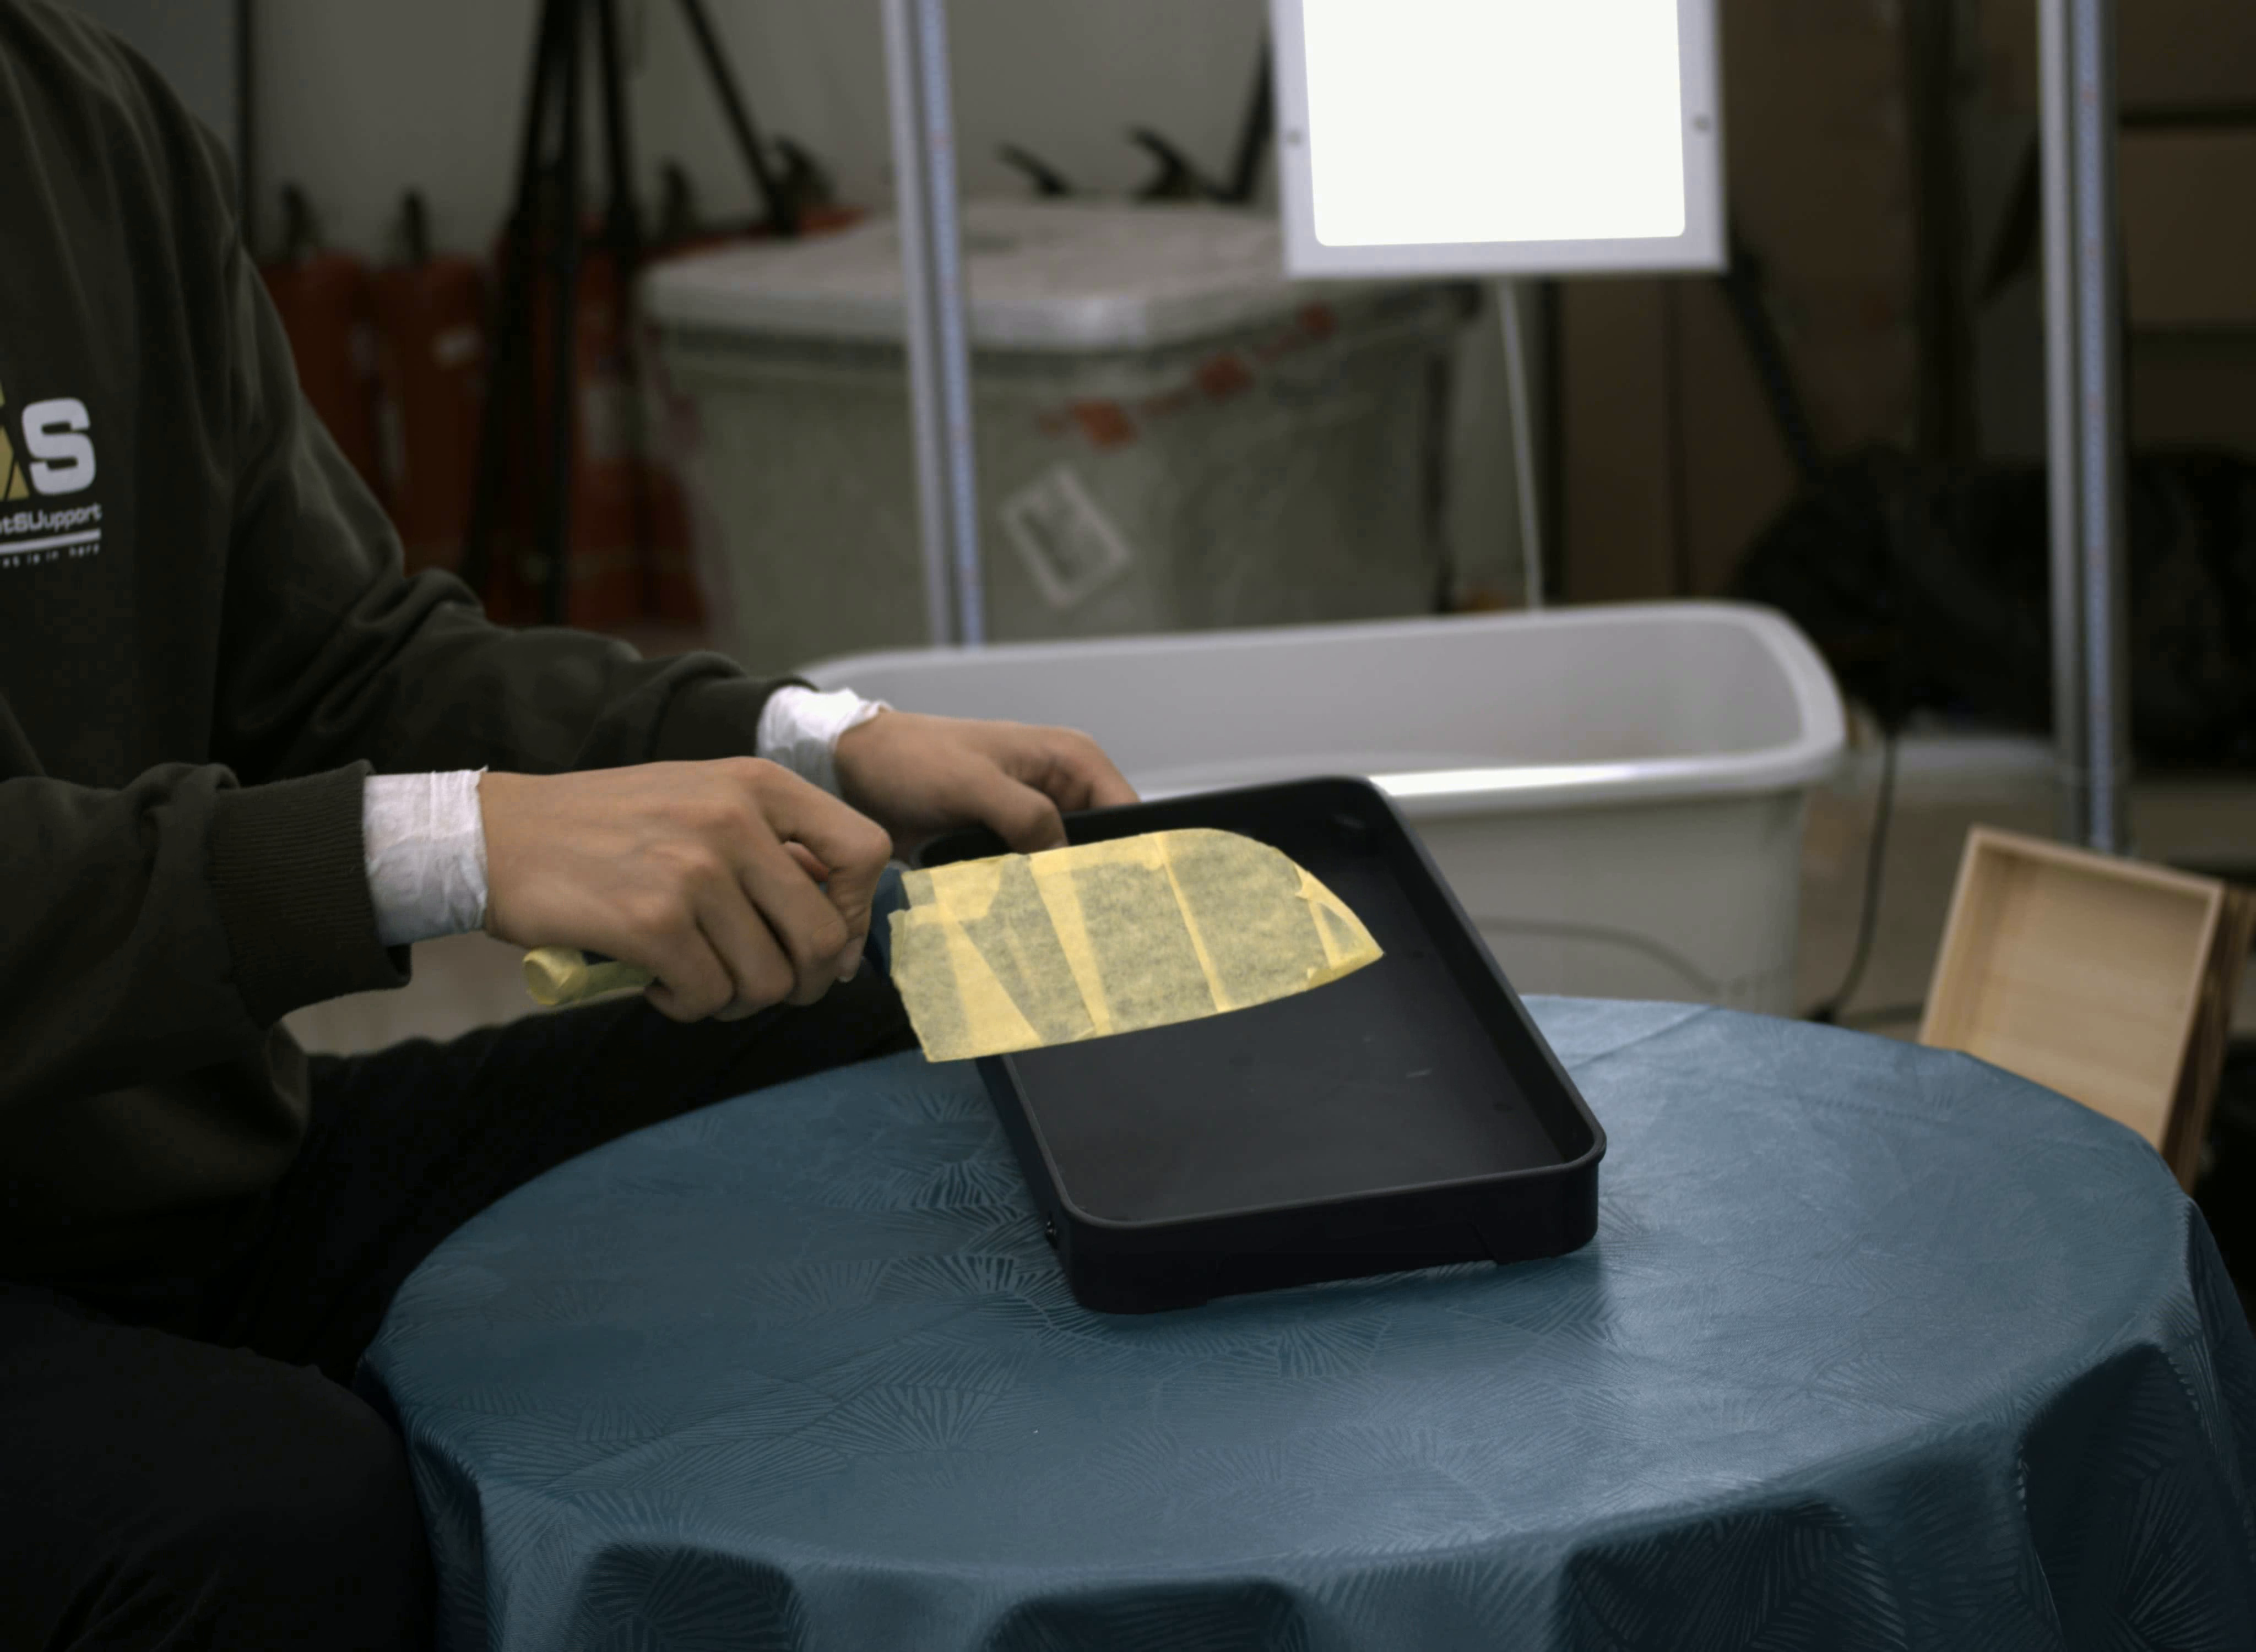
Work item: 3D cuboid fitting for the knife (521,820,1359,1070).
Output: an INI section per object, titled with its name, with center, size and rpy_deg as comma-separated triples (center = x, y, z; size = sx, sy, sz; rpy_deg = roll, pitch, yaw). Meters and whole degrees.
[knife]
center = -0.057, 0.044, 1.820
size = 0.285, 0.027, 0.081
rpy_deg = -8, 58, -16

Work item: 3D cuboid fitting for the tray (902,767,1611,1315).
[tray]
center = 0.039, 0.069, 1.921
size = 0.182, 0.037, 0.320
rpy_deg = -10, 26, -10
